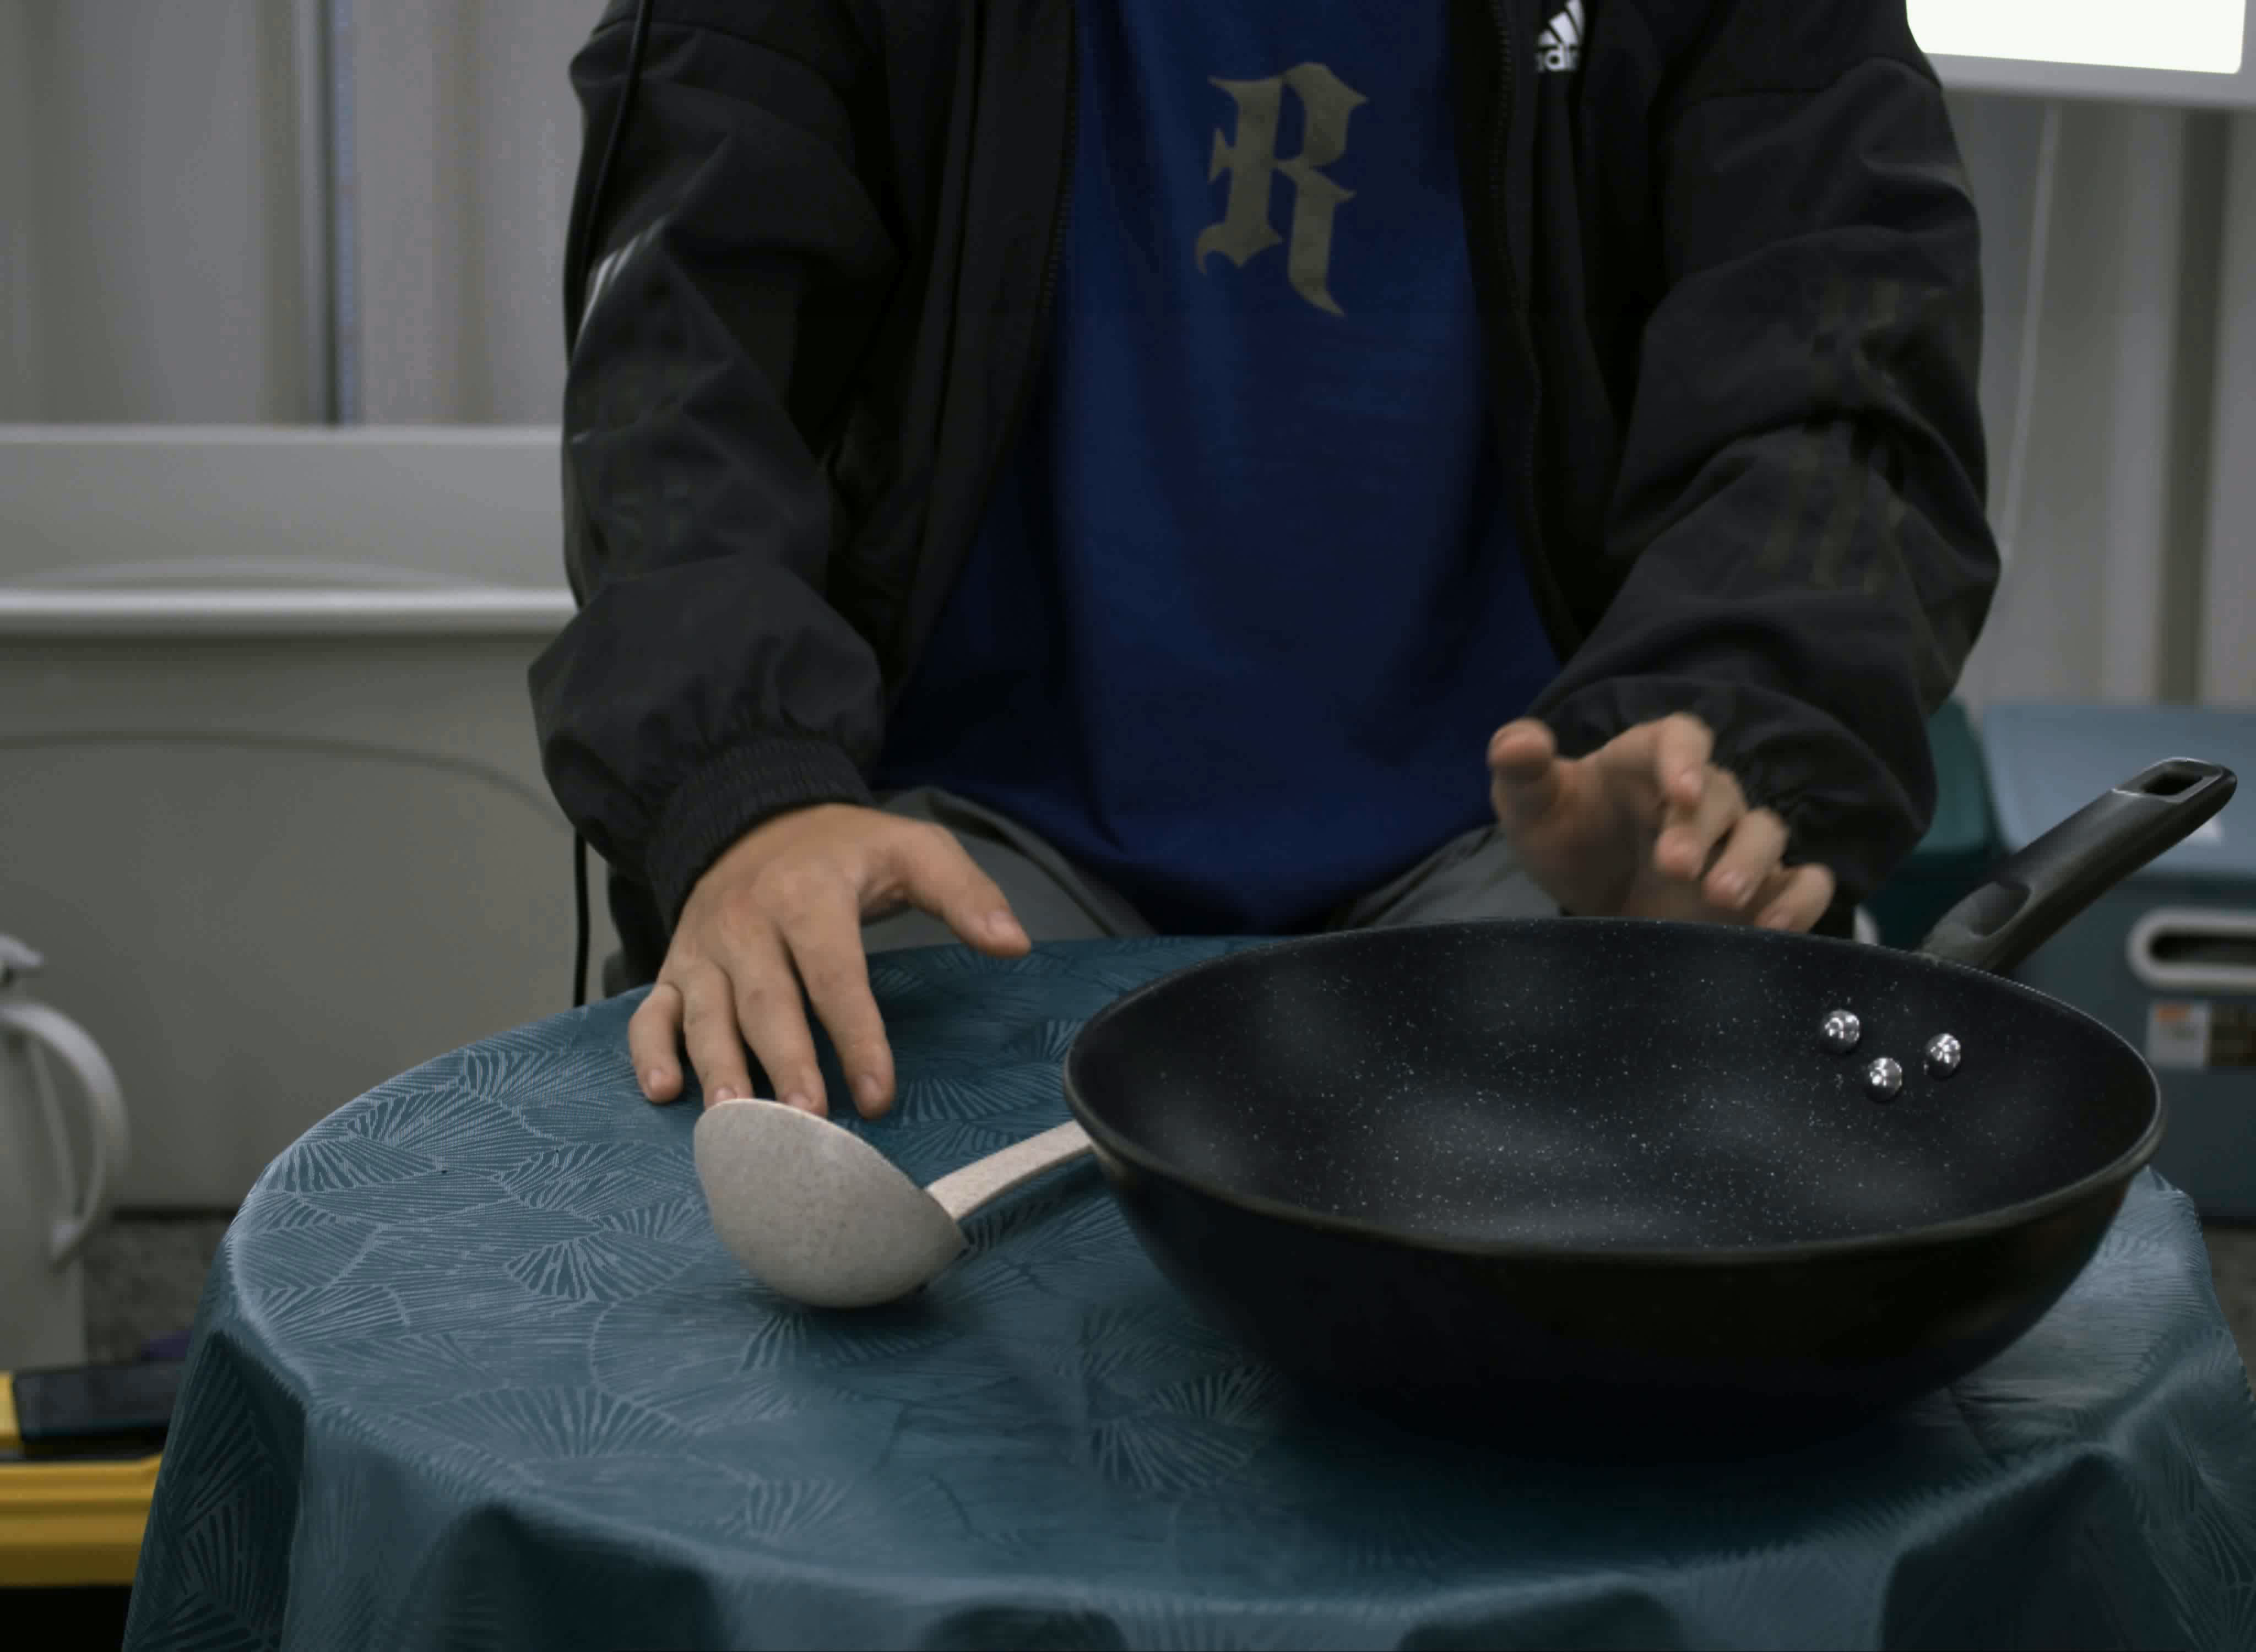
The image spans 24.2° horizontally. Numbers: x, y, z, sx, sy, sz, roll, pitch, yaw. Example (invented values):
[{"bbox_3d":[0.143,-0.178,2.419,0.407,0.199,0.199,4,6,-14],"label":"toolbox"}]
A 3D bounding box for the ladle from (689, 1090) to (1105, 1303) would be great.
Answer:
[{"bbox_3d":[-0.030,0.082,1.602,0.088,0.070,0.276,2,12,32],"label":"ladle"}]

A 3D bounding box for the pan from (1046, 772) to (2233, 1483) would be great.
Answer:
[{"bbox_3d":[0.186,0.083,1.535,0.306,0.112,0.479,15,22,38],"label":"pan"}]
